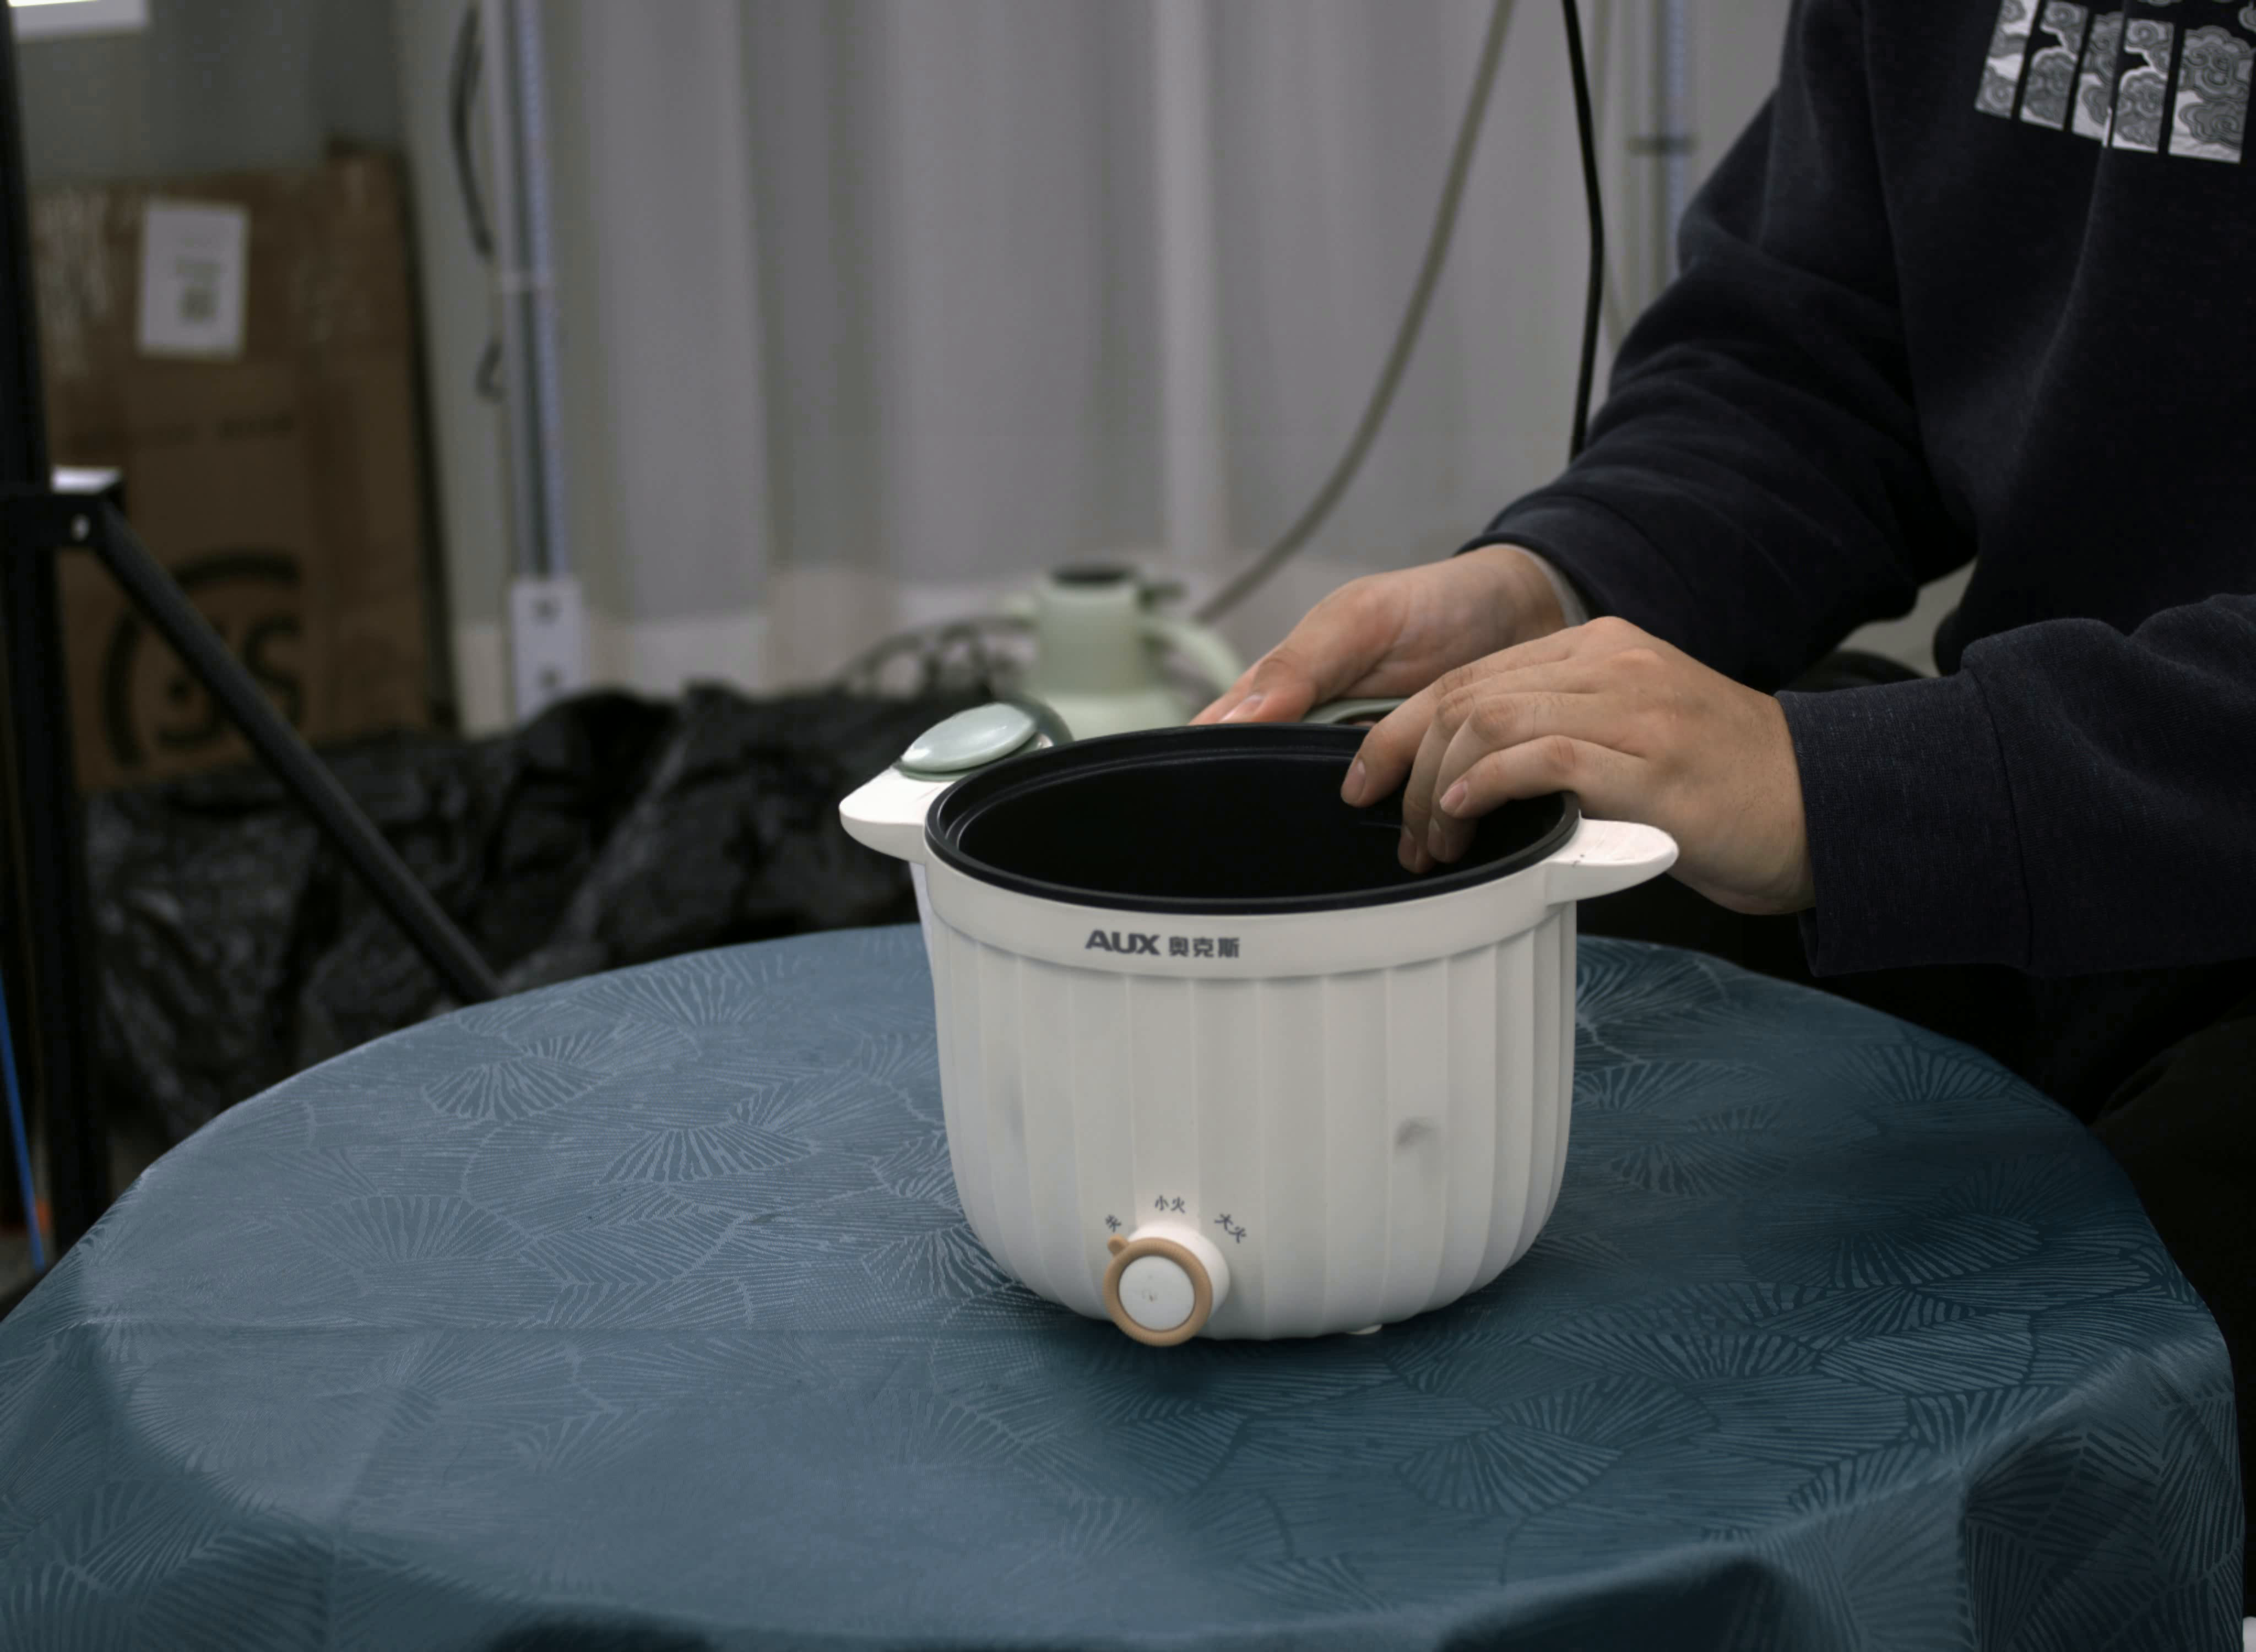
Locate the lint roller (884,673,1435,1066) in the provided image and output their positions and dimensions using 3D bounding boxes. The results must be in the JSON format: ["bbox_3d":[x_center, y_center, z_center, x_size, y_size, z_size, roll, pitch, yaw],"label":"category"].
[{"bbox_3d":[0.013,-0.007,1.598,0.194,0.116,0.049,-26,20,-38],"label":"lint roller"}]

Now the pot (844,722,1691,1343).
[{"bbox_3d":[0.037,0.059,1.470,0.243,0.143,0.188,2,13,18],"label":"pot"}]
